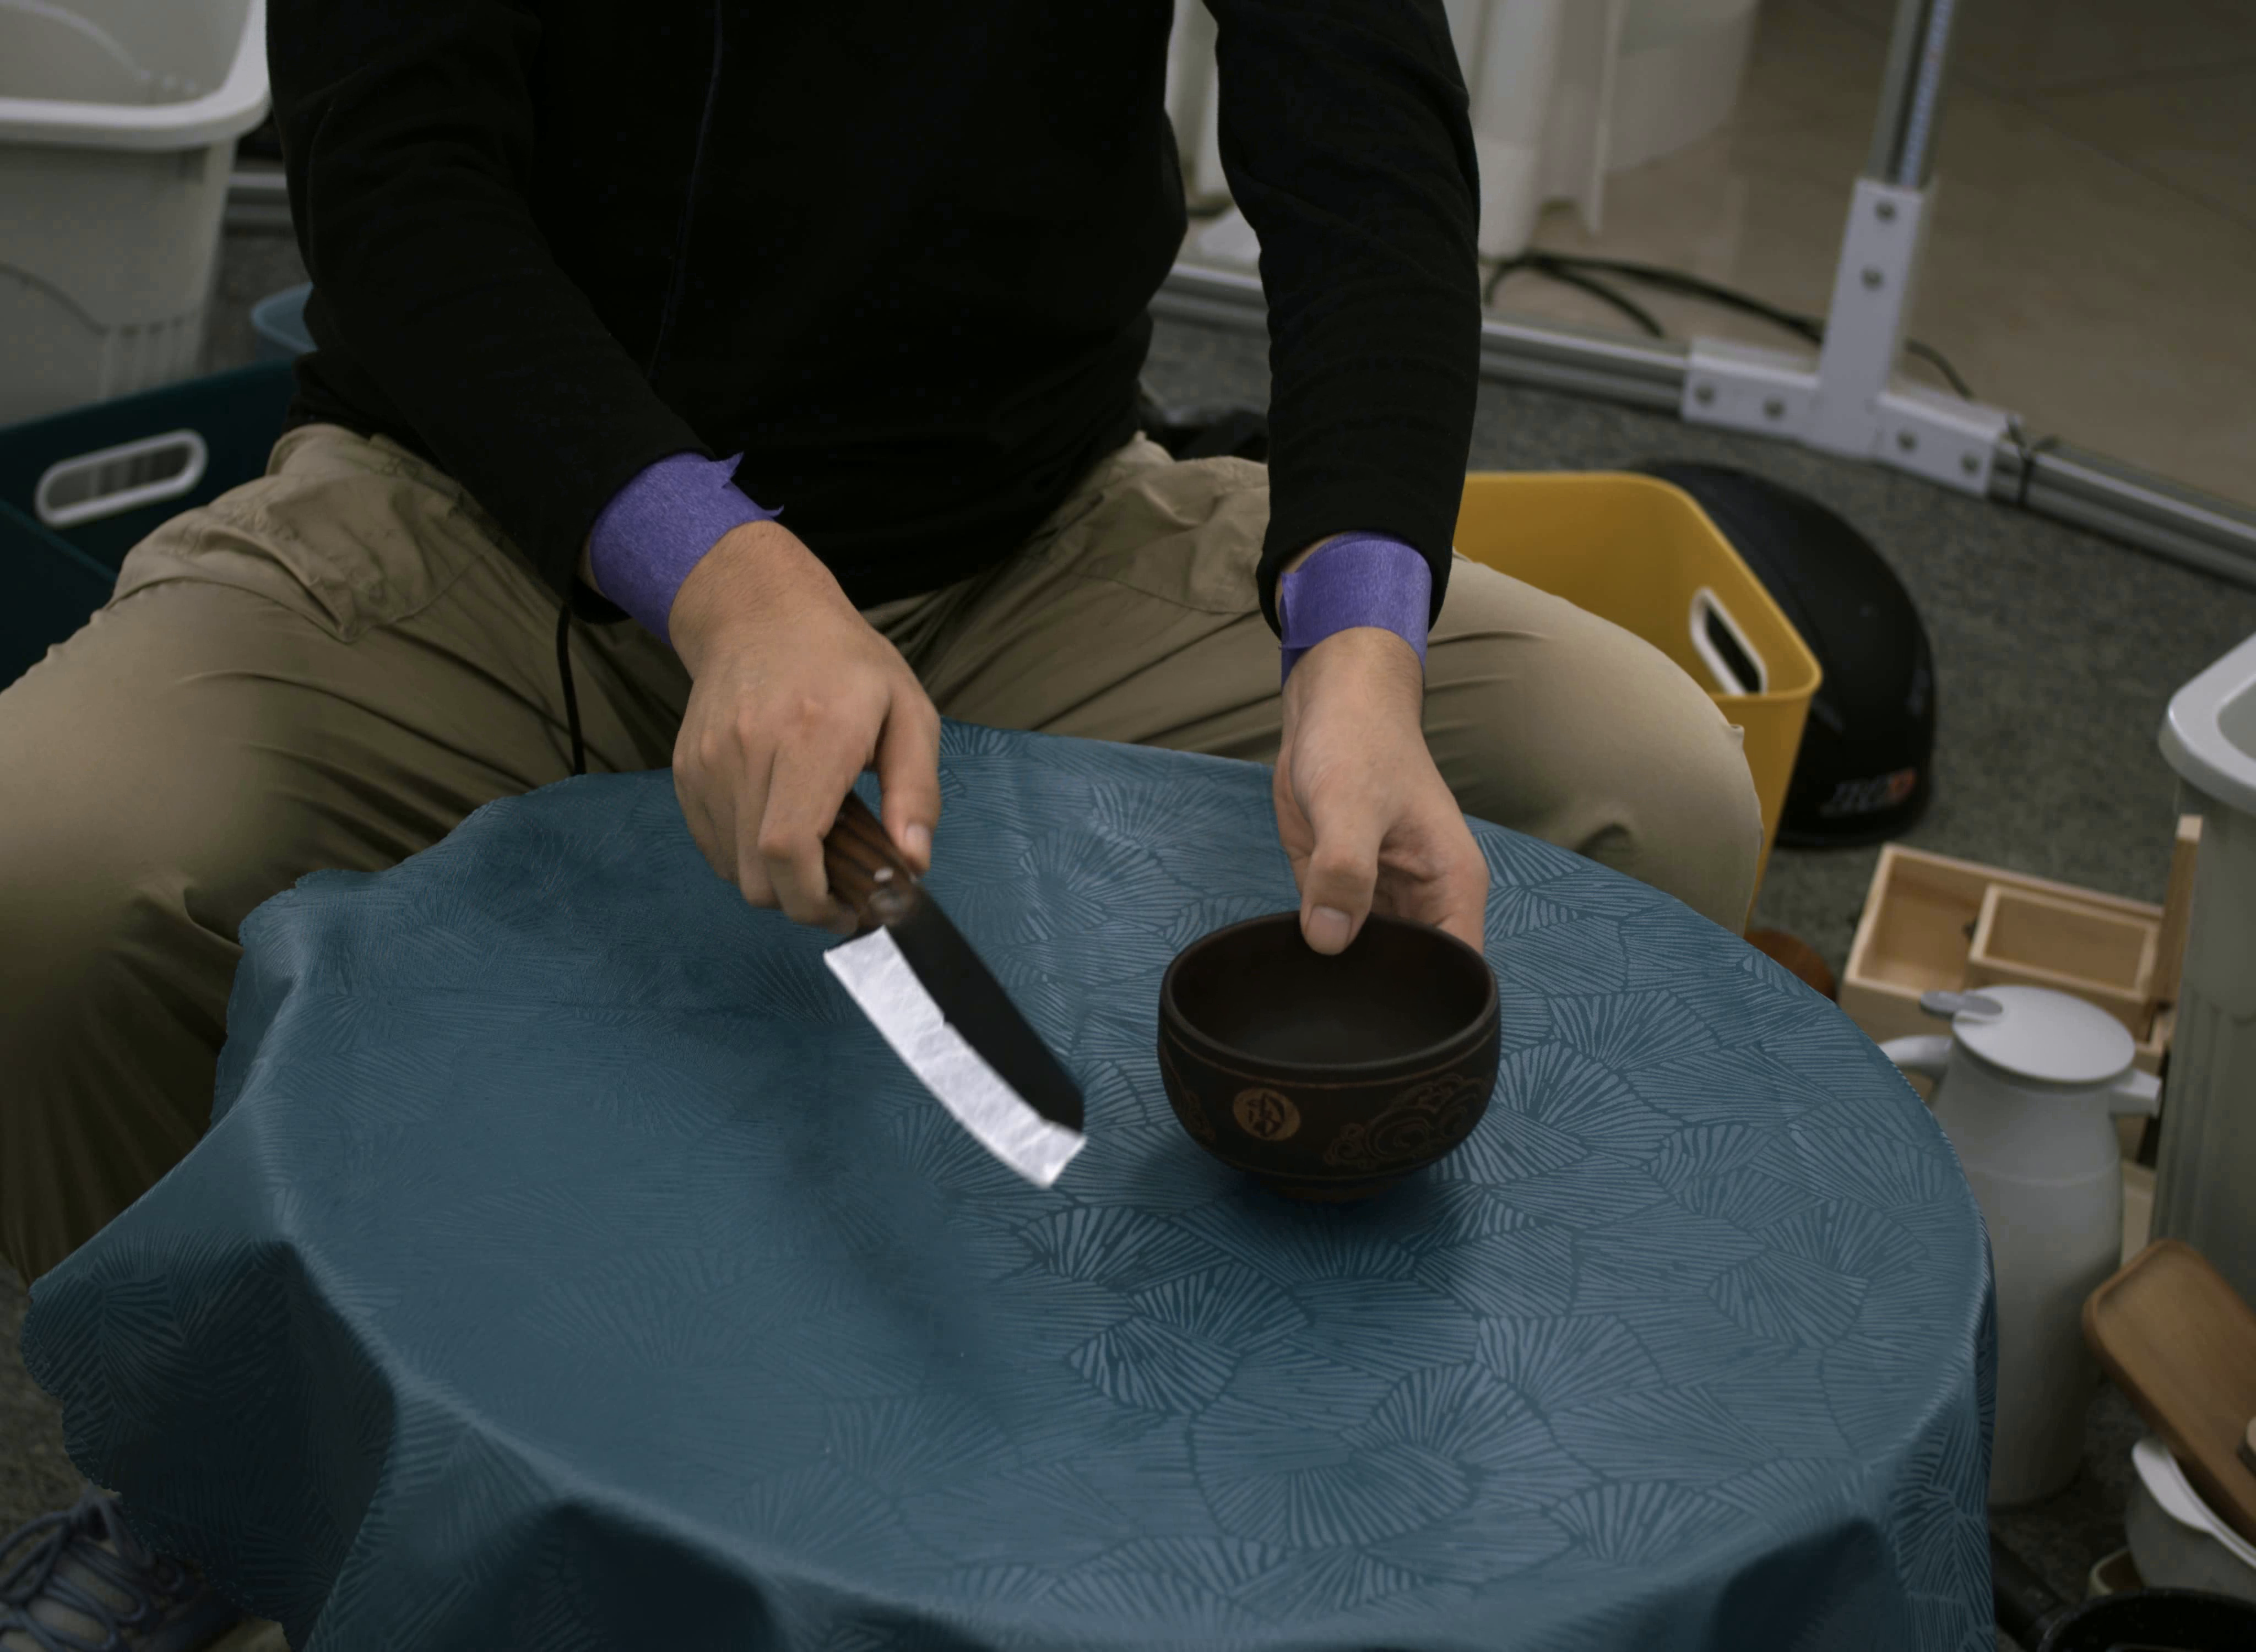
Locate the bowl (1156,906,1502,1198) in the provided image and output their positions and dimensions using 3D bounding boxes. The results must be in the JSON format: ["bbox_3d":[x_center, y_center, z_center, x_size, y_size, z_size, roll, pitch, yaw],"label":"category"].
[{"bbox_3d":[0.069,0.083,1.815,0.118,0.069,0.119,-2,26,1],"label":"bowl"}]

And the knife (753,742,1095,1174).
[{"bbox_3d":[-0.072,0.043,1.790,0.050,0.020,0.292,-22,33,-11],"label":"knife"}]
